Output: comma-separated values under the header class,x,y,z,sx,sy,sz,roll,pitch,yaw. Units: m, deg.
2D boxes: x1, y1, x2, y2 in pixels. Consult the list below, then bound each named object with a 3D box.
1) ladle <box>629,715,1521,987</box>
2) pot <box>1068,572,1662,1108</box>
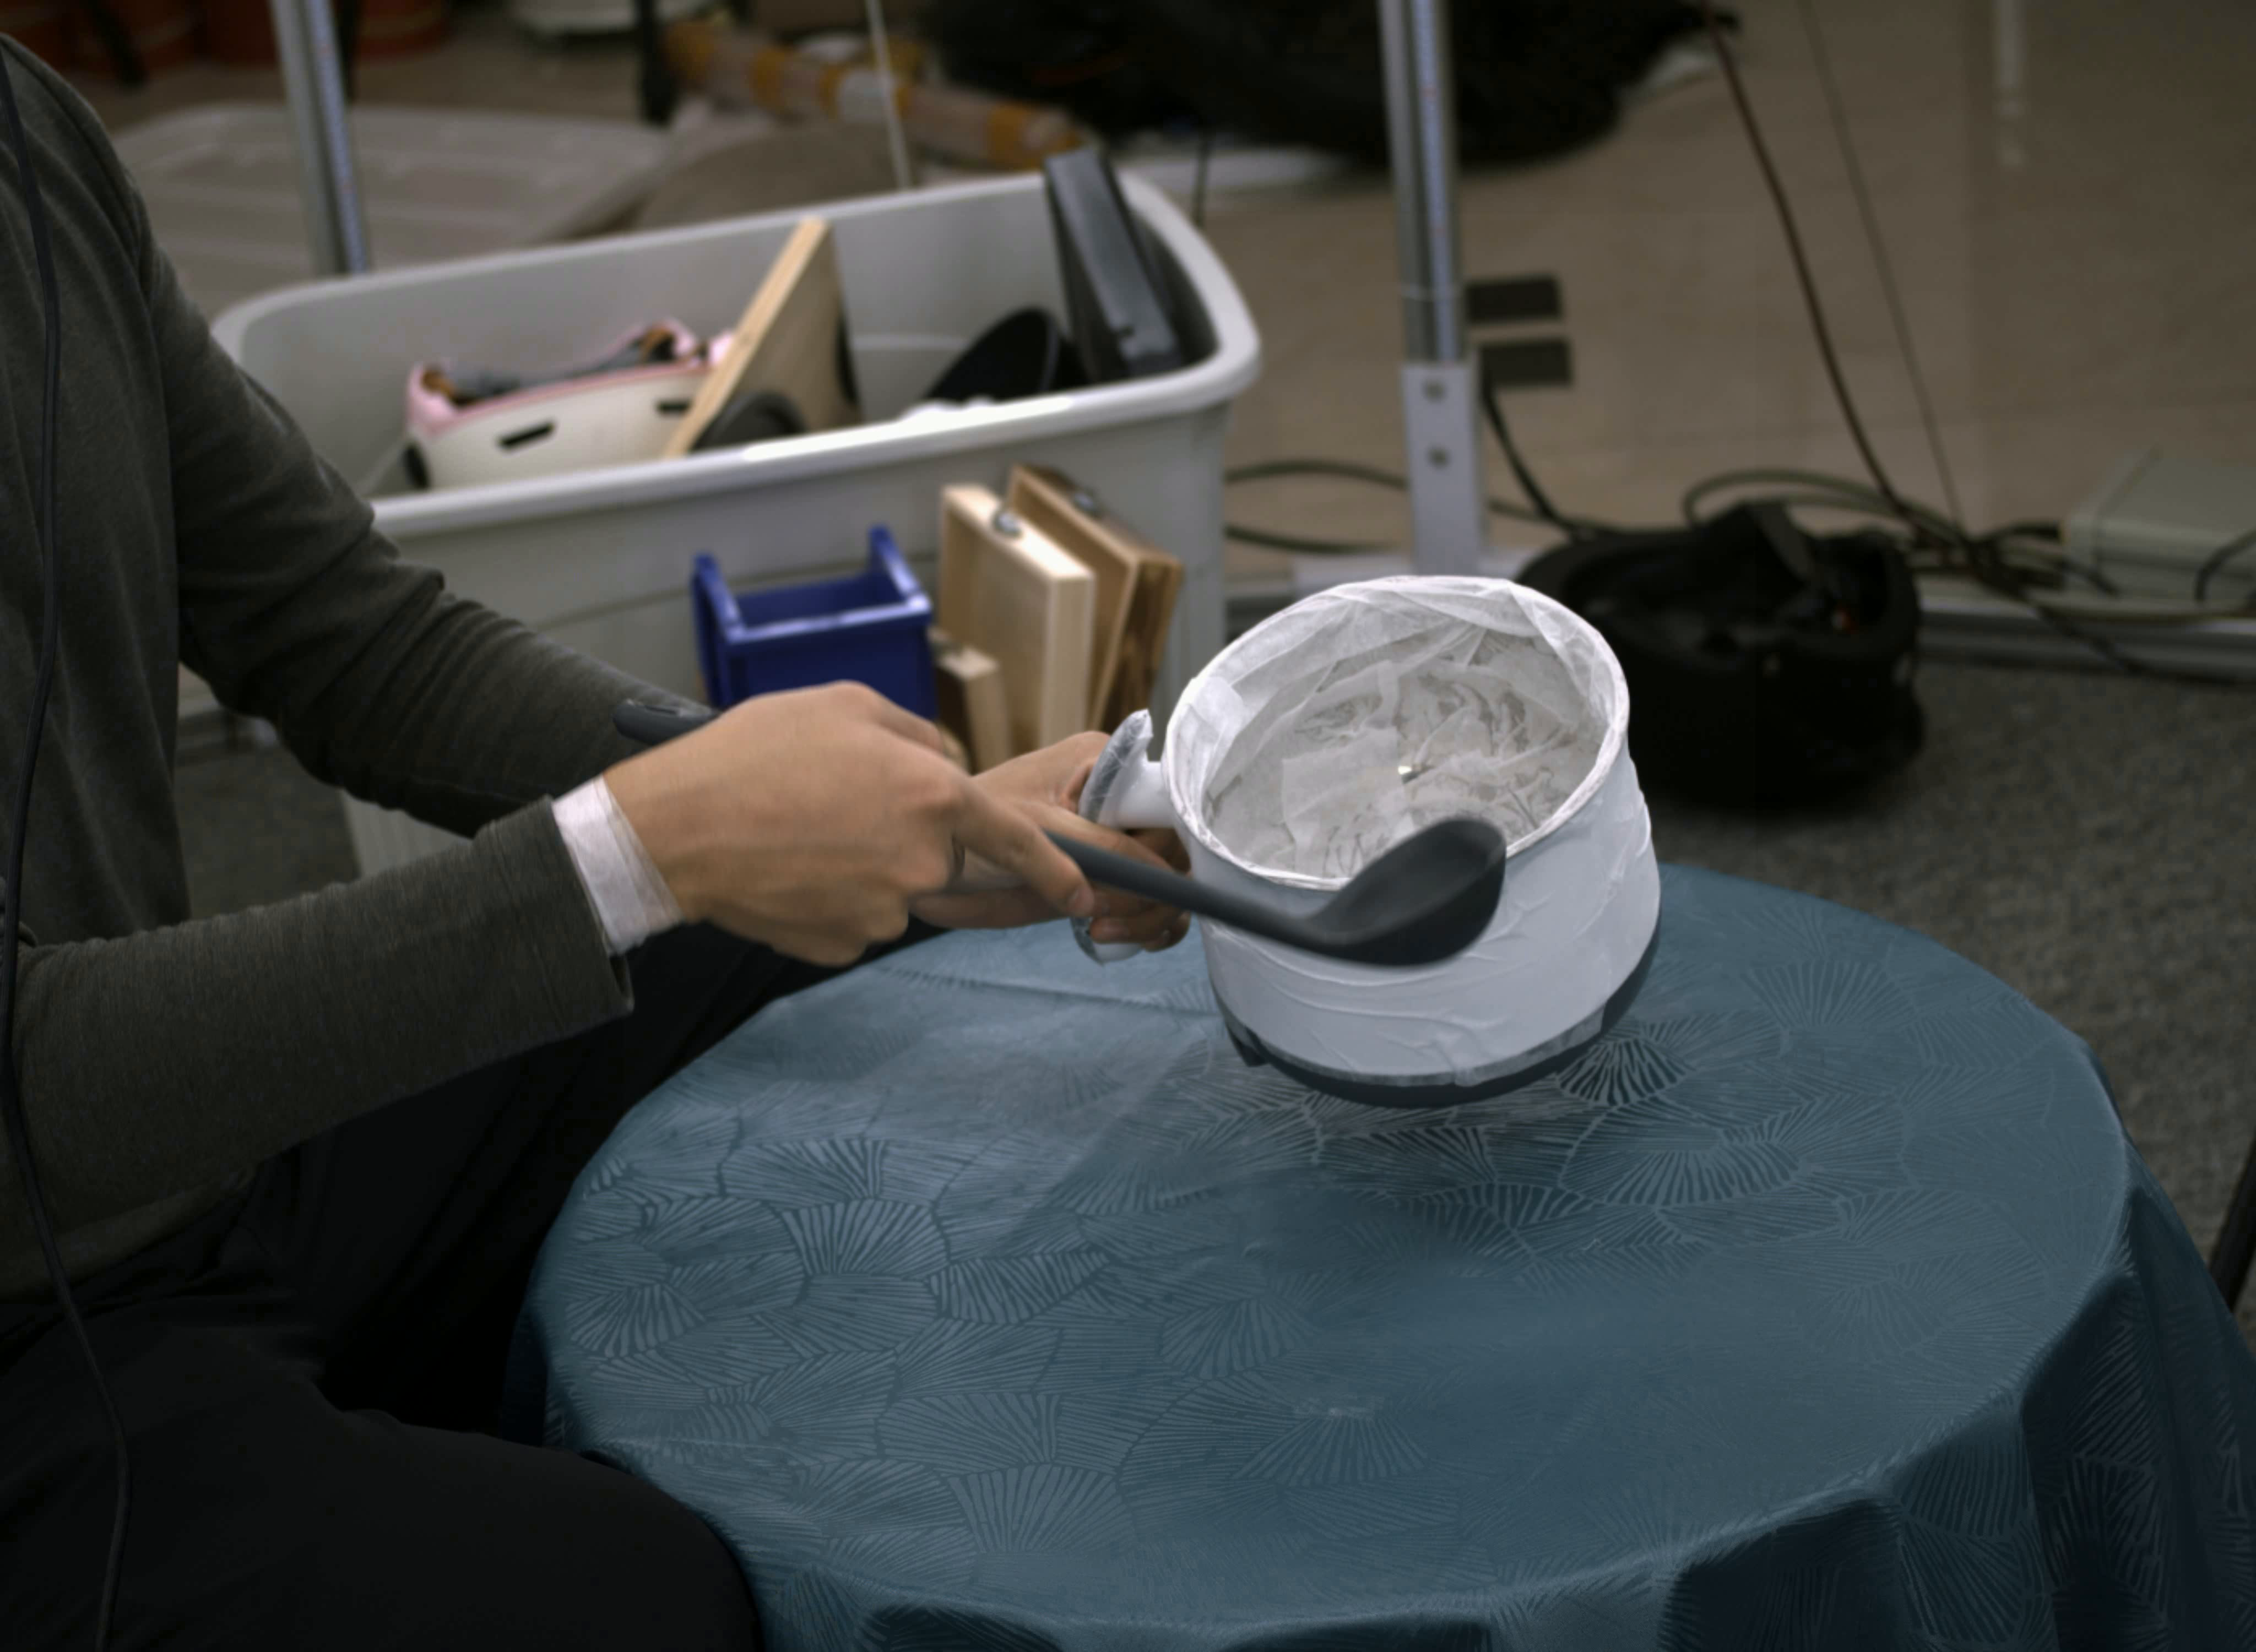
class,x,y,z,sx,sy,sz,roll,pitch,yaw
ladle,-0.016,-0.008,1.951,0.314,0.064,0.085,18,7,-12
pot,0.085,0.009,2.164,0.233,0.139,0.175,0,44,16
